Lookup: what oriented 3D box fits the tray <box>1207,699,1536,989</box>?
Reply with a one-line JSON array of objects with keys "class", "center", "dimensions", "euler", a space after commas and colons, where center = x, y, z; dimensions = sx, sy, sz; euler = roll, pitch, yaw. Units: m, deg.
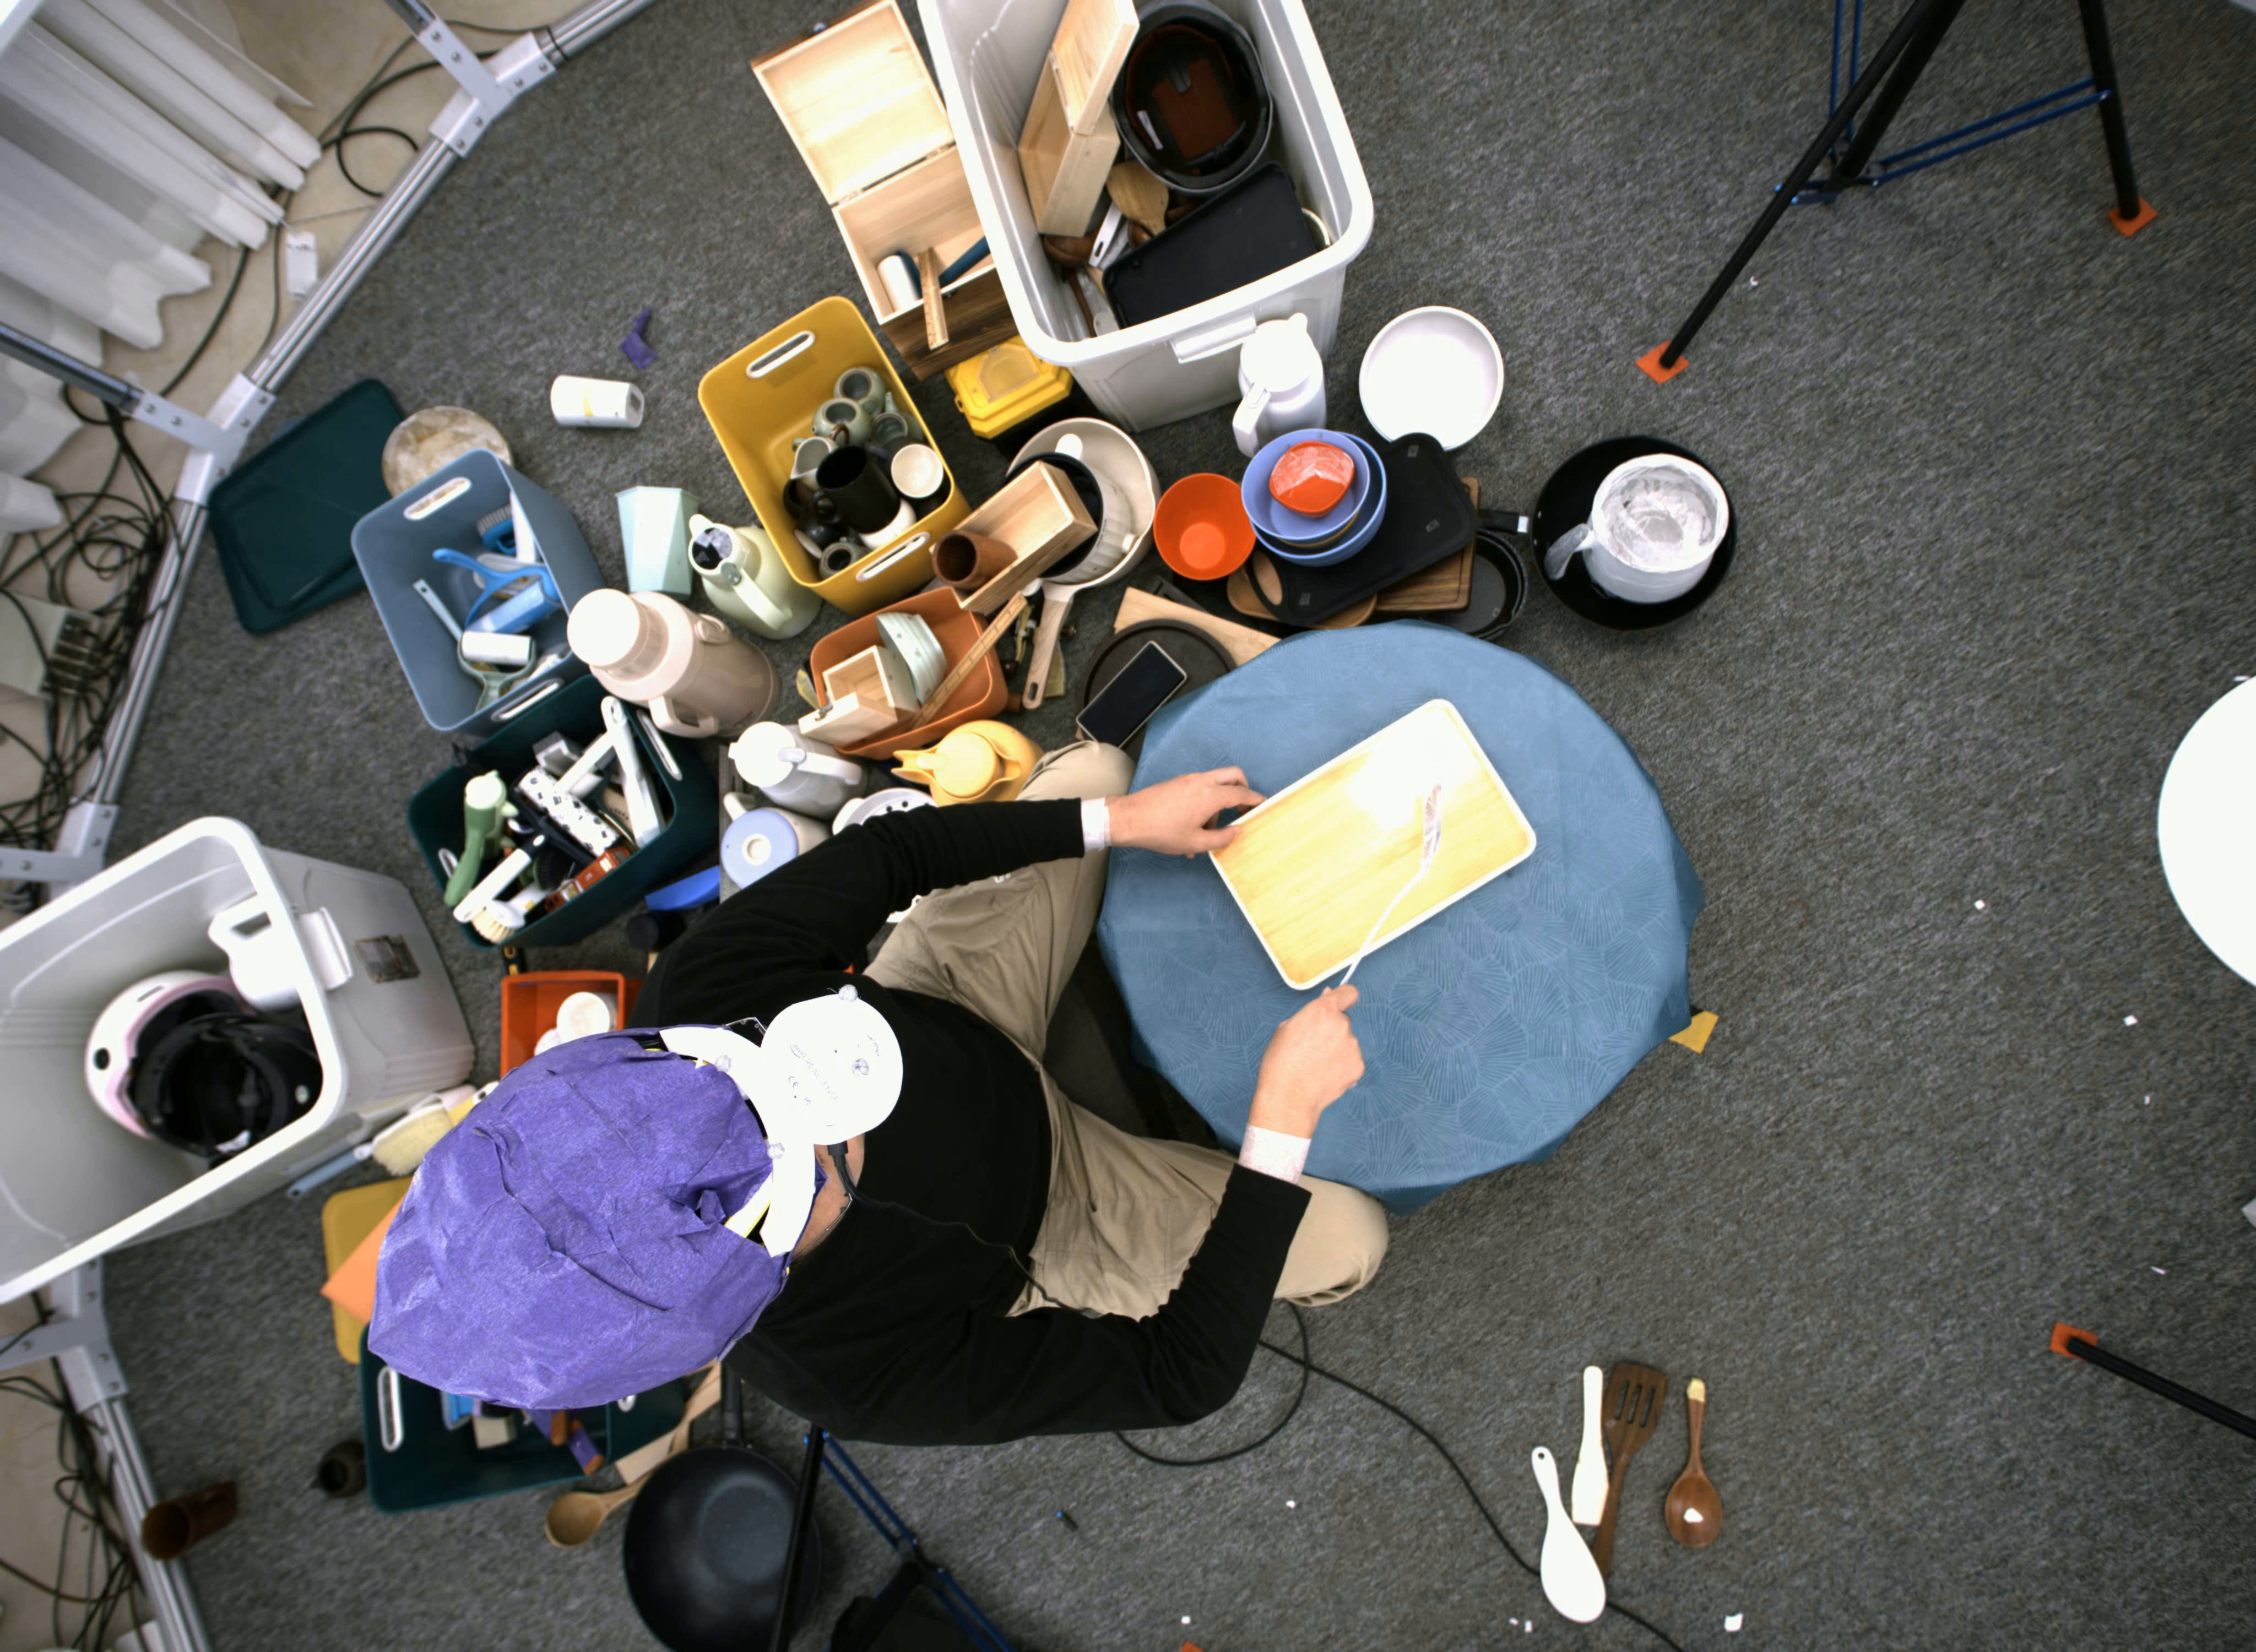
[{"class": "tray", "center": [0.253, 0.018, 1.445], "dimensions": [0.302, 0.027, 0.191], "euler": [-31, 85, 6]}]

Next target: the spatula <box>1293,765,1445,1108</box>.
[{"class": "spatula", "center": [0.231, 0.102, 1.325], "dimensions": [0.044, 0.100, 0.360], "euler": [30, 76, 14]}]
